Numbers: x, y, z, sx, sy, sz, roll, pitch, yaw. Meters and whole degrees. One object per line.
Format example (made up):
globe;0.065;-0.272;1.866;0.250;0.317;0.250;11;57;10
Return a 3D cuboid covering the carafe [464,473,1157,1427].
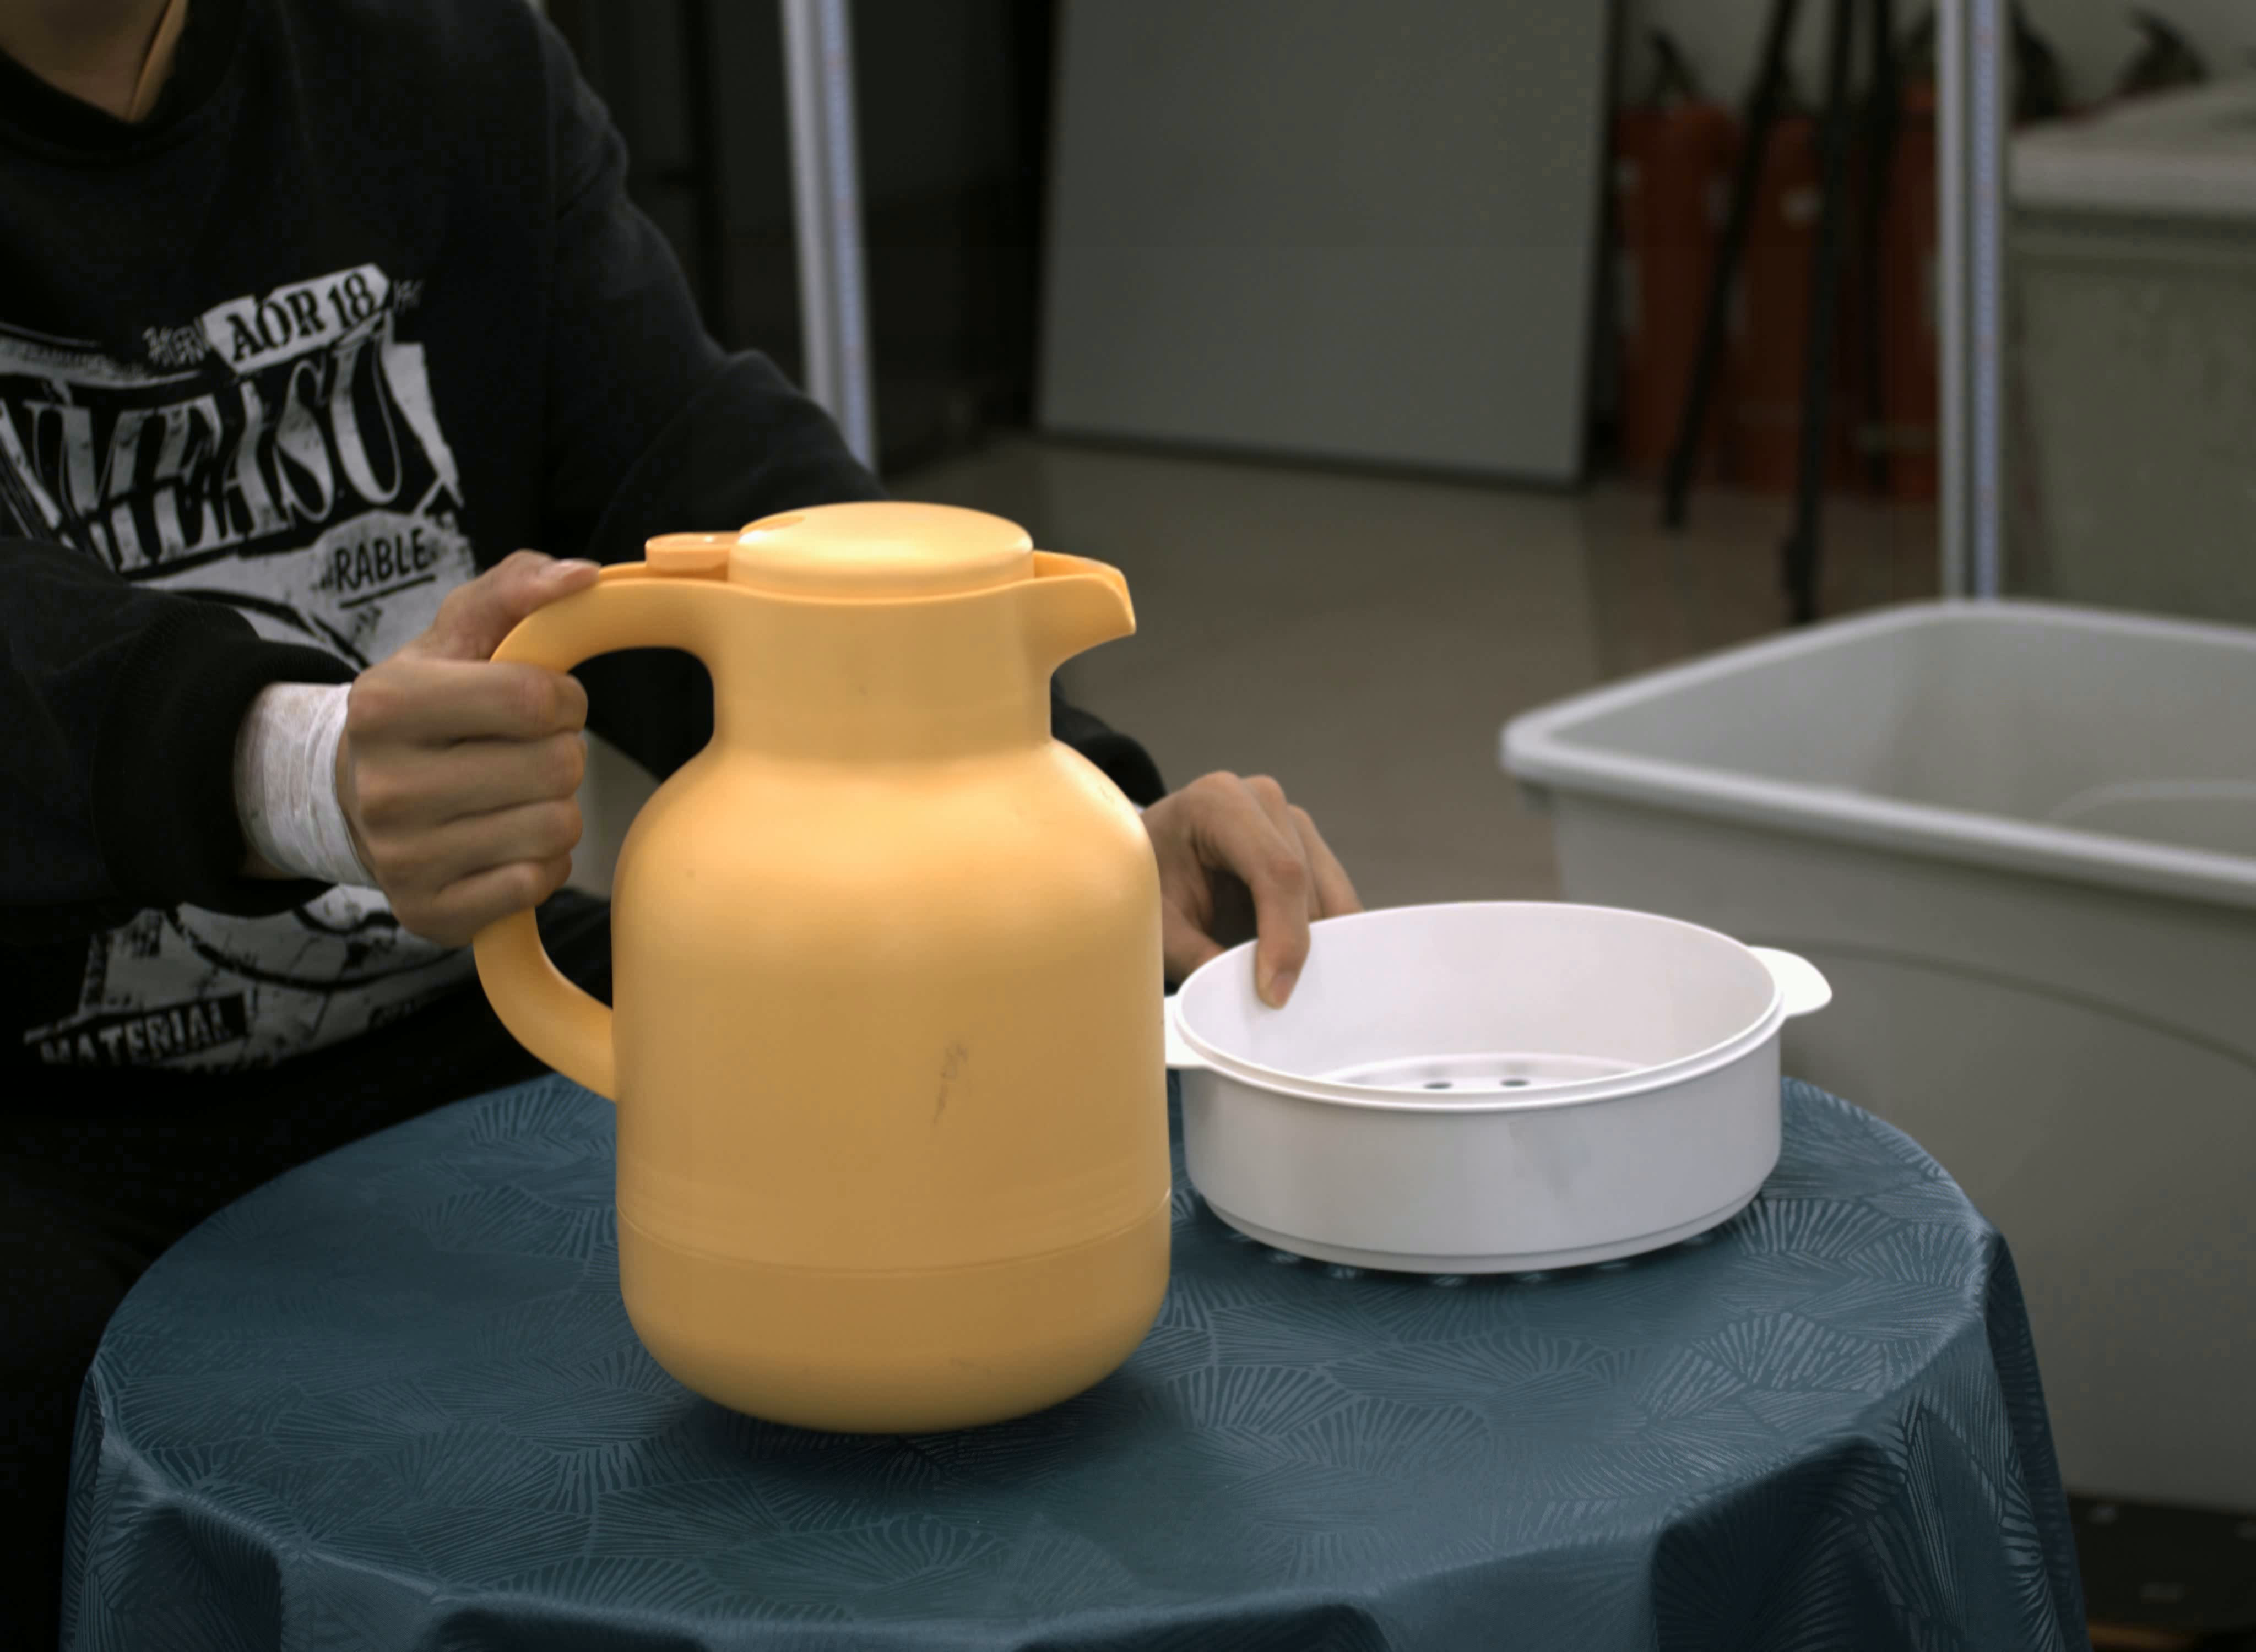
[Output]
carafe;-0.090;0.031;1.560;0.200;0.263;0.163;2;10;5

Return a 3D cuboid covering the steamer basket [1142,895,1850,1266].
steamer basket;0.118;0.081;1.737;0.227;0.070;0.203;-2;16;-6
